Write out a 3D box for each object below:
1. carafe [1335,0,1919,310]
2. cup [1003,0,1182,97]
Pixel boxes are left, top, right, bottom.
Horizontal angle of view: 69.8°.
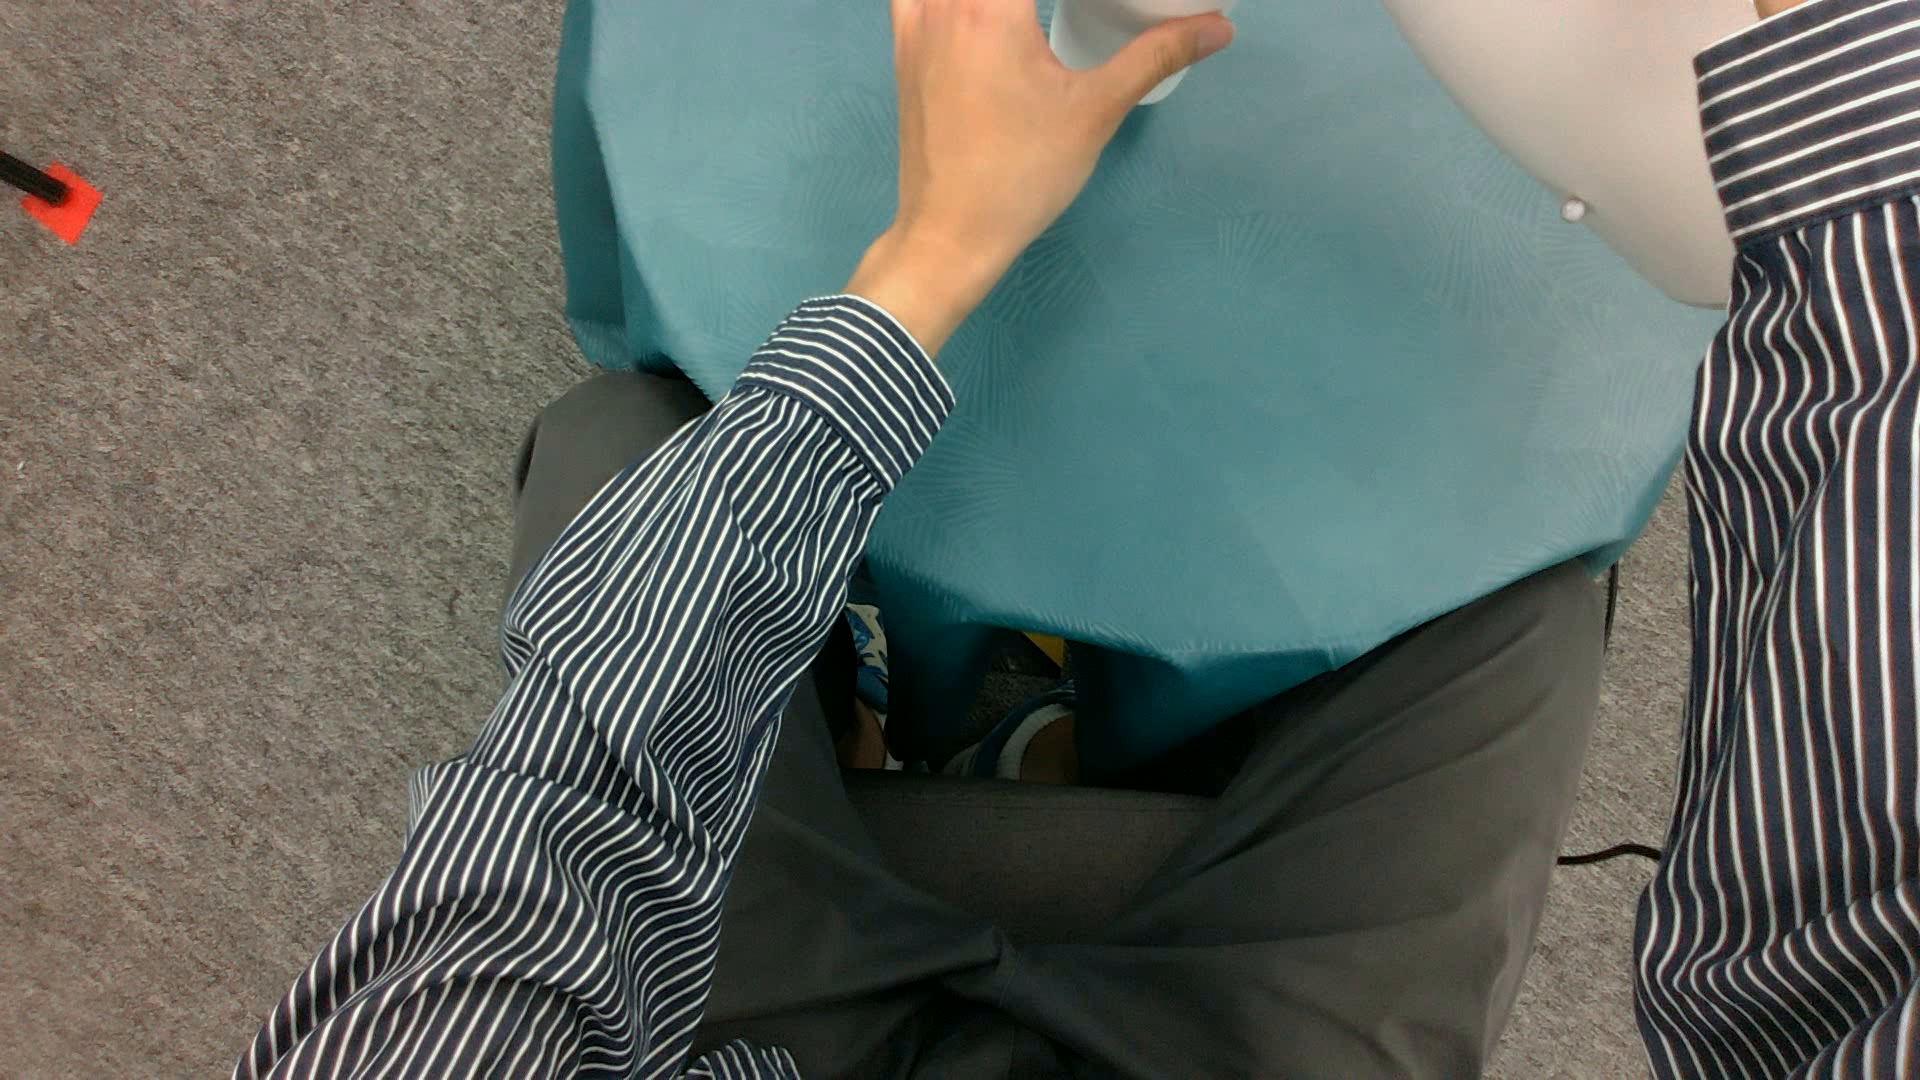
[{"bbox_3d":[0.207,-0.198,0.451,0.248,0.167,0.132,31,84,-21],"label":"carafe"},{"bbox_3d":[0.061,-0.247,0.589,0.082,0.125,0.082,0,87,-6],"label":"cup"}]
